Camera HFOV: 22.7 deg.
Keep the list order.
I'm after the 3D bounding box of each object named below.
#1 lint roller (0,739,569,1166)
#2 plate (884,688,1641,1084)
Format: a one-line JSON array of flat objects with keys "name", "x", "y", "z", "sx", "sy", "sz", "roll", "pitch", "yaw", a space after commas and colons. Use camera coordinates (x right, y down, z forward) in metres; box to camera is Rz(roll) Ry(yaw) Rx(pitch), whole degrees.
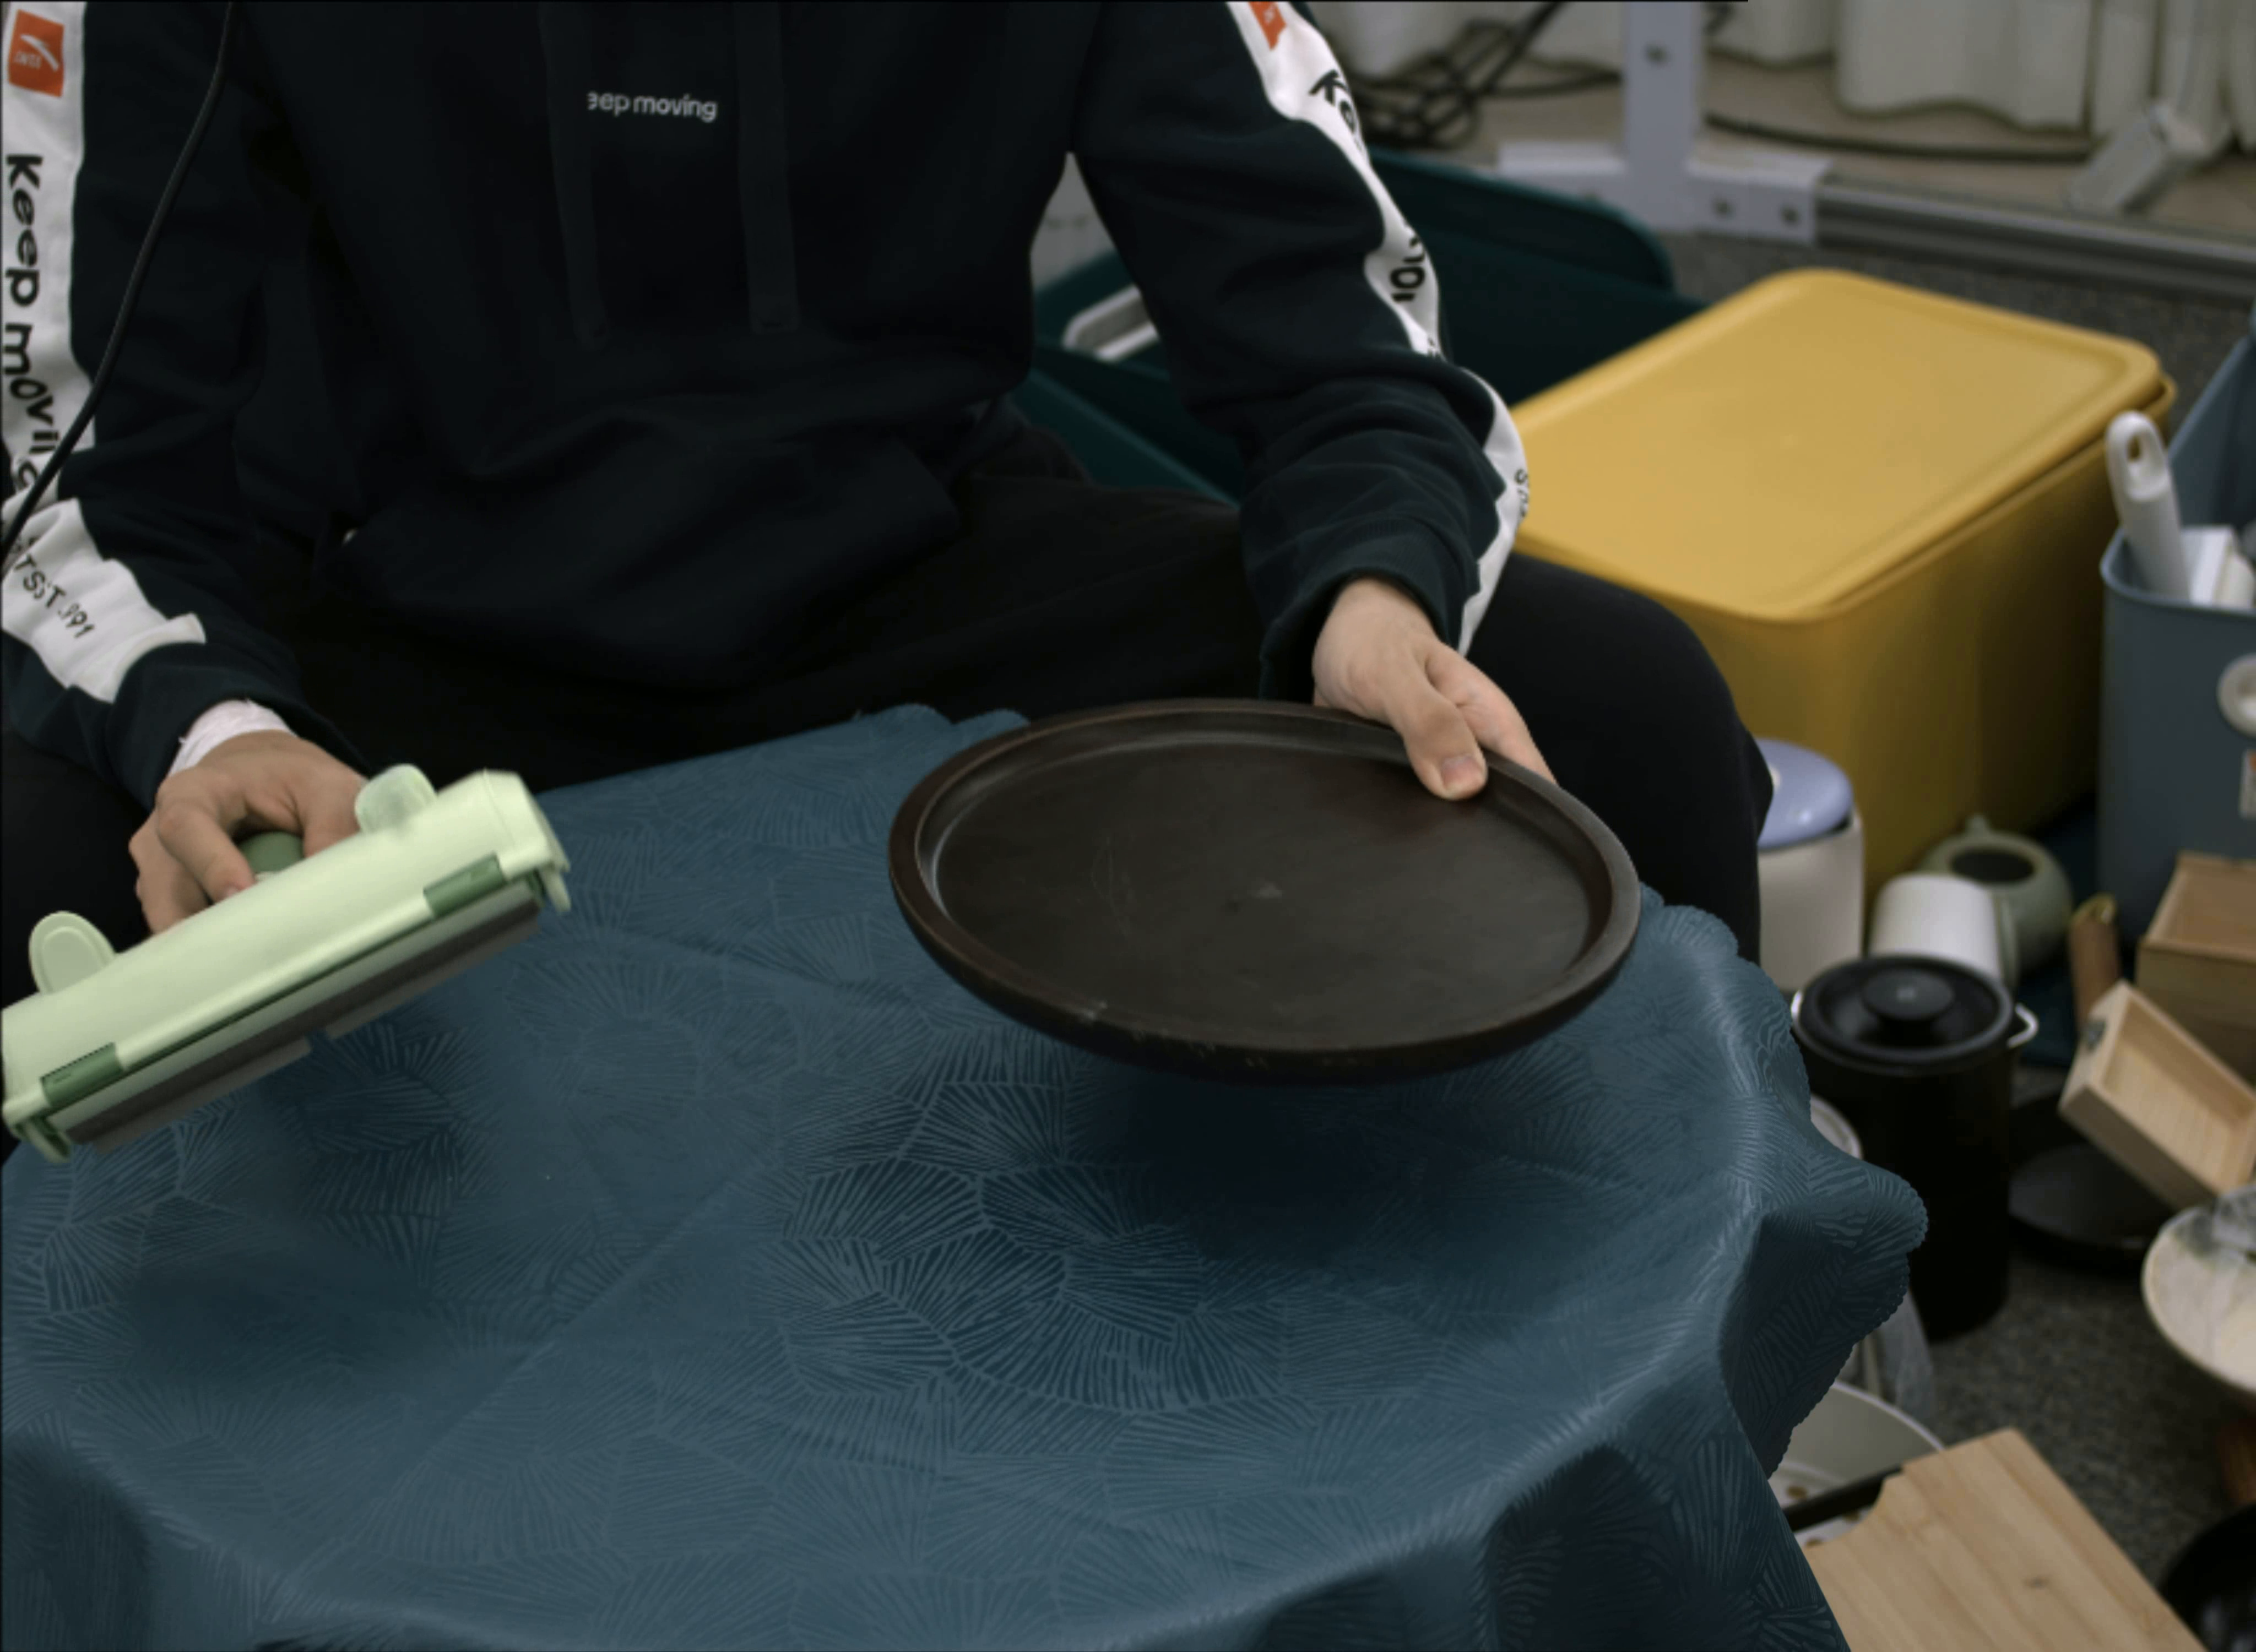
[{"name": "lint roller", "x": -0.291, "y": 0.017, "z": 1.865, "sx": 0.198, "sy": 0.081, "sz": 0.185, "roll": -28, "pitch": 27, "yaw": -4}, {"name": "plate", "x": 0.044, "y": 0.020, "z": 1.871, "sx": 0.254, "sy": 0.029, "sz": 0.258, "roll": 4, "pitch": 27, "yaw": -1}]
